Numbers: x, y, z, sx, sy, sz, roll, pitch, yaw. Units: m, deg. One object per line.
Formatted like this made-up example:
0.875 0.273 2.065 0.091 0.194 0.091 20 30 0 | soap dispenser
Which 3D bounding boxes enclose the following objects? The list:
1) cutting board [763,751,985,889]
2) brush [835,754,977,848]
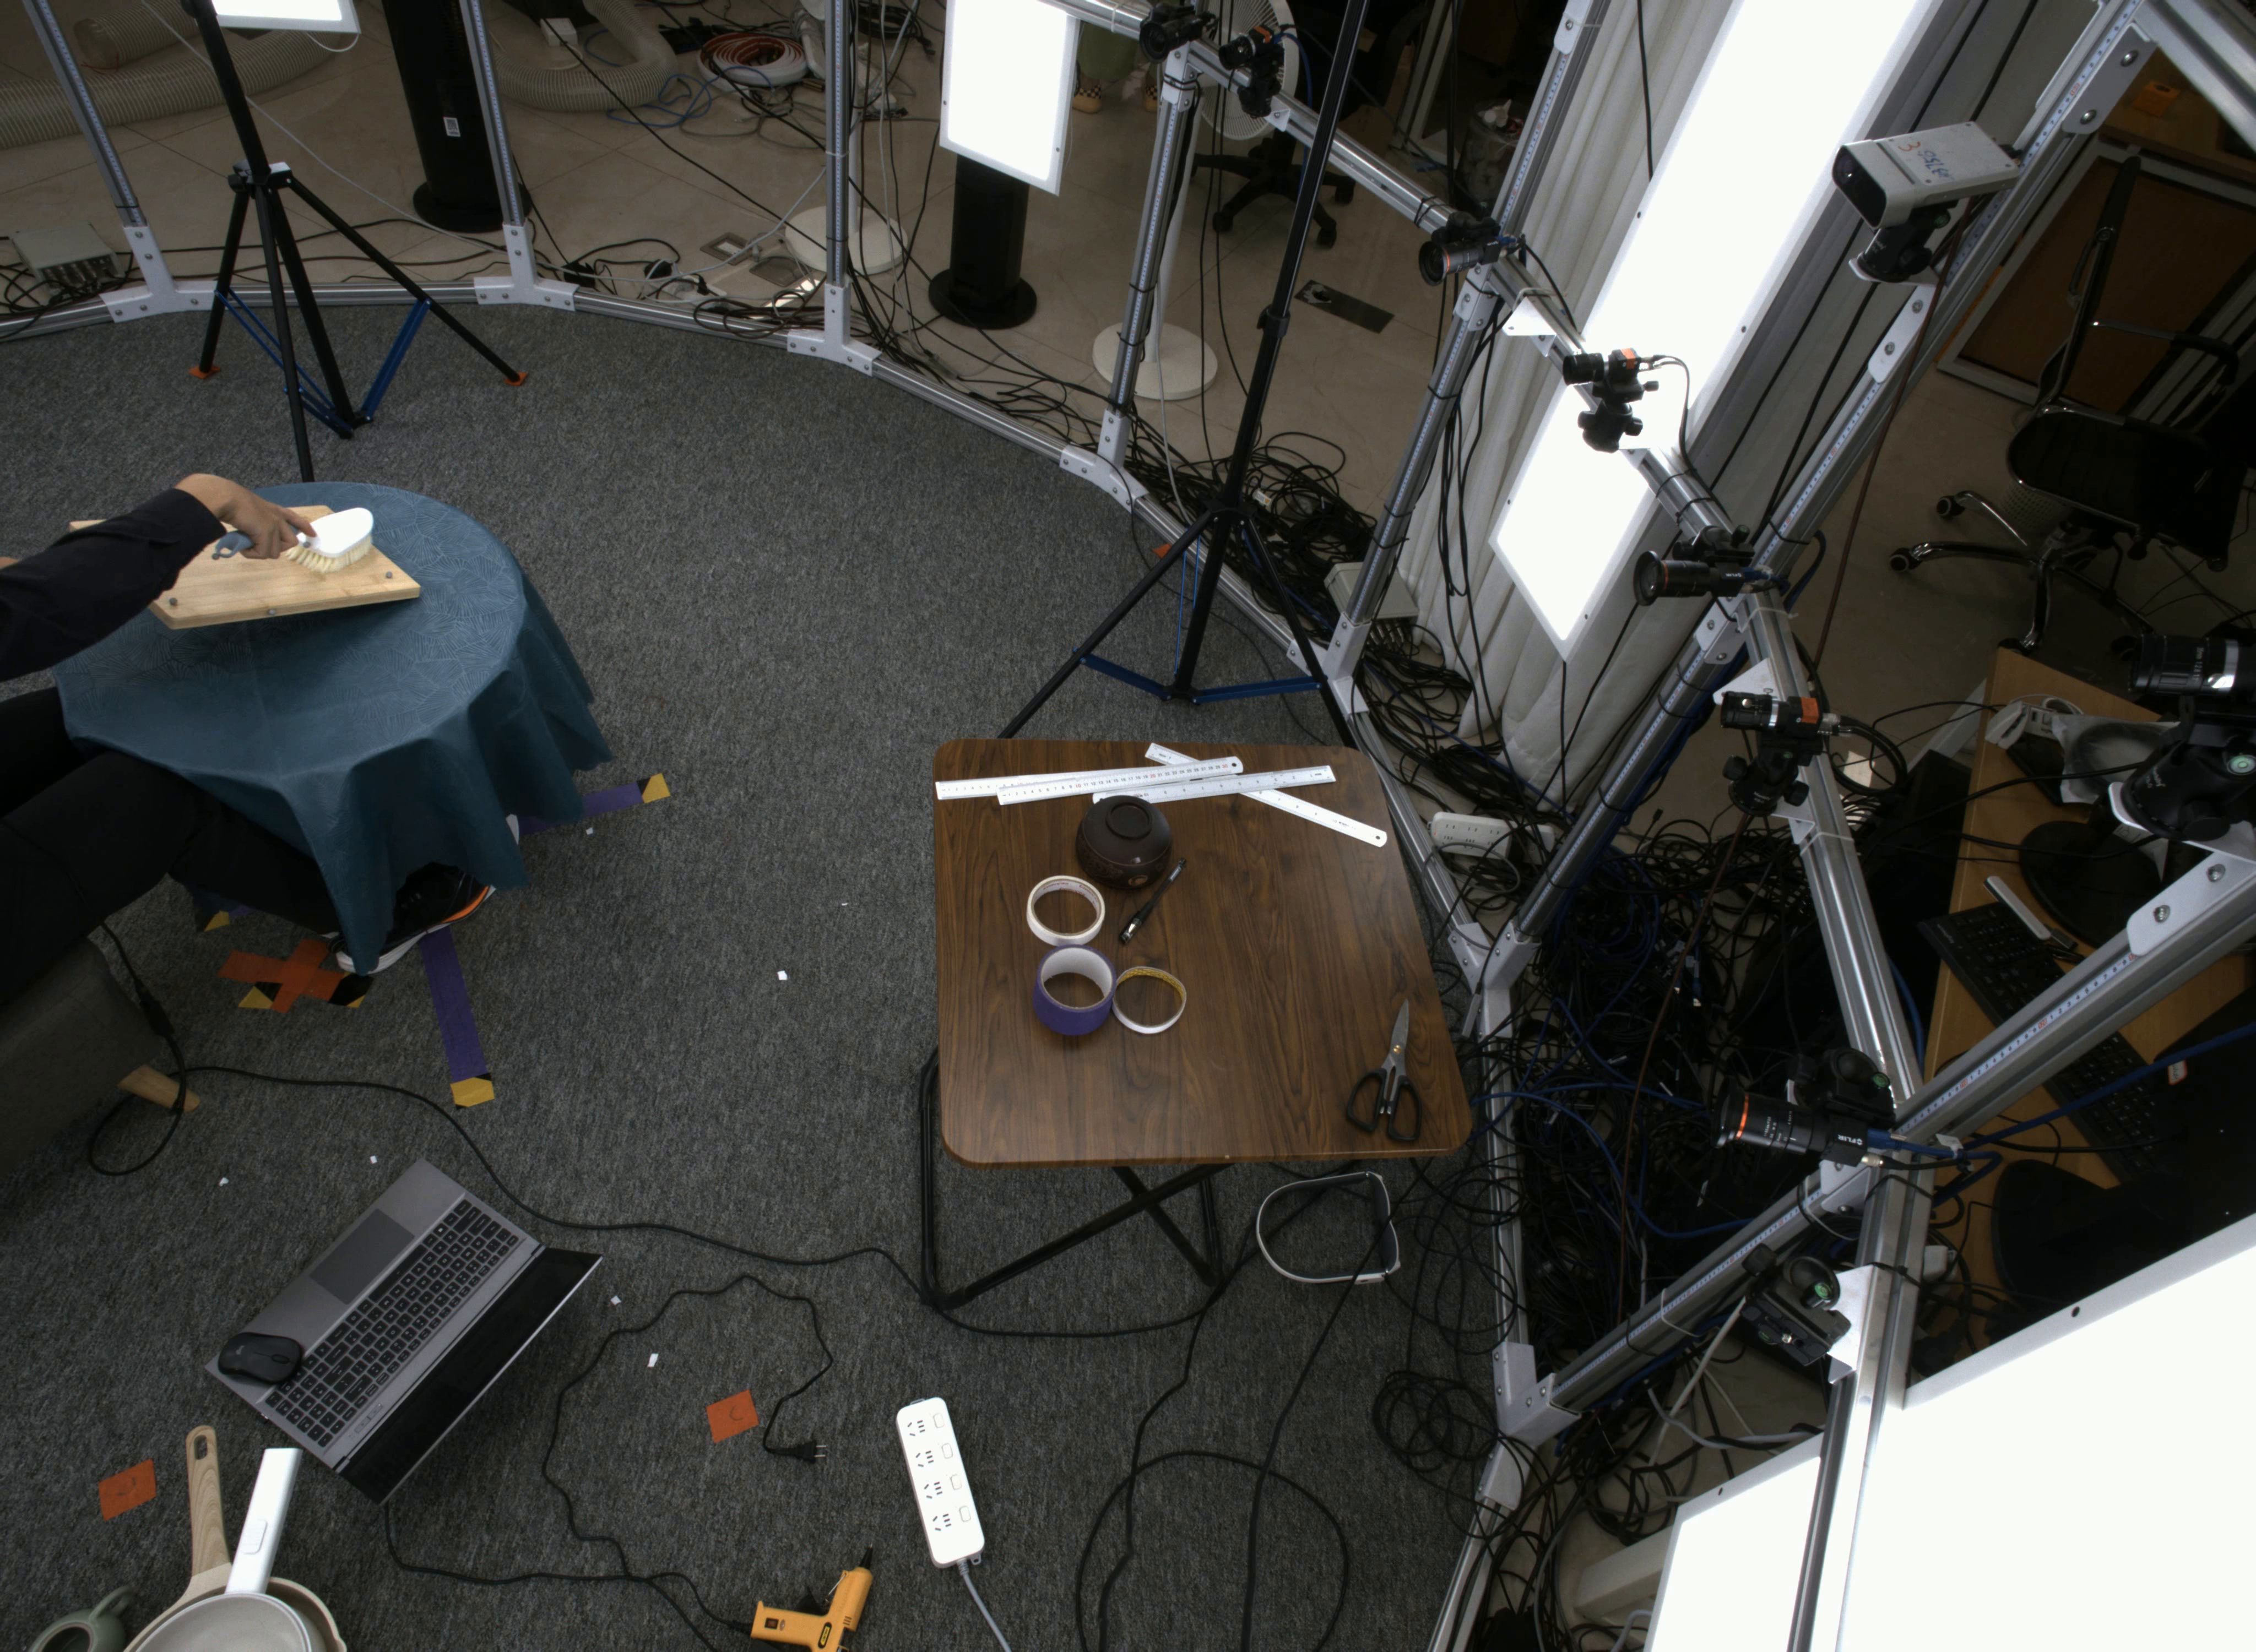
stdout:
-0.404 -0.010 2.068 0.357 0.024 0.242 21 14 -31 | cutting board
-0.356 -0.025 2.019 0.081 0.084 0.335 -6 -17 30 | brush
